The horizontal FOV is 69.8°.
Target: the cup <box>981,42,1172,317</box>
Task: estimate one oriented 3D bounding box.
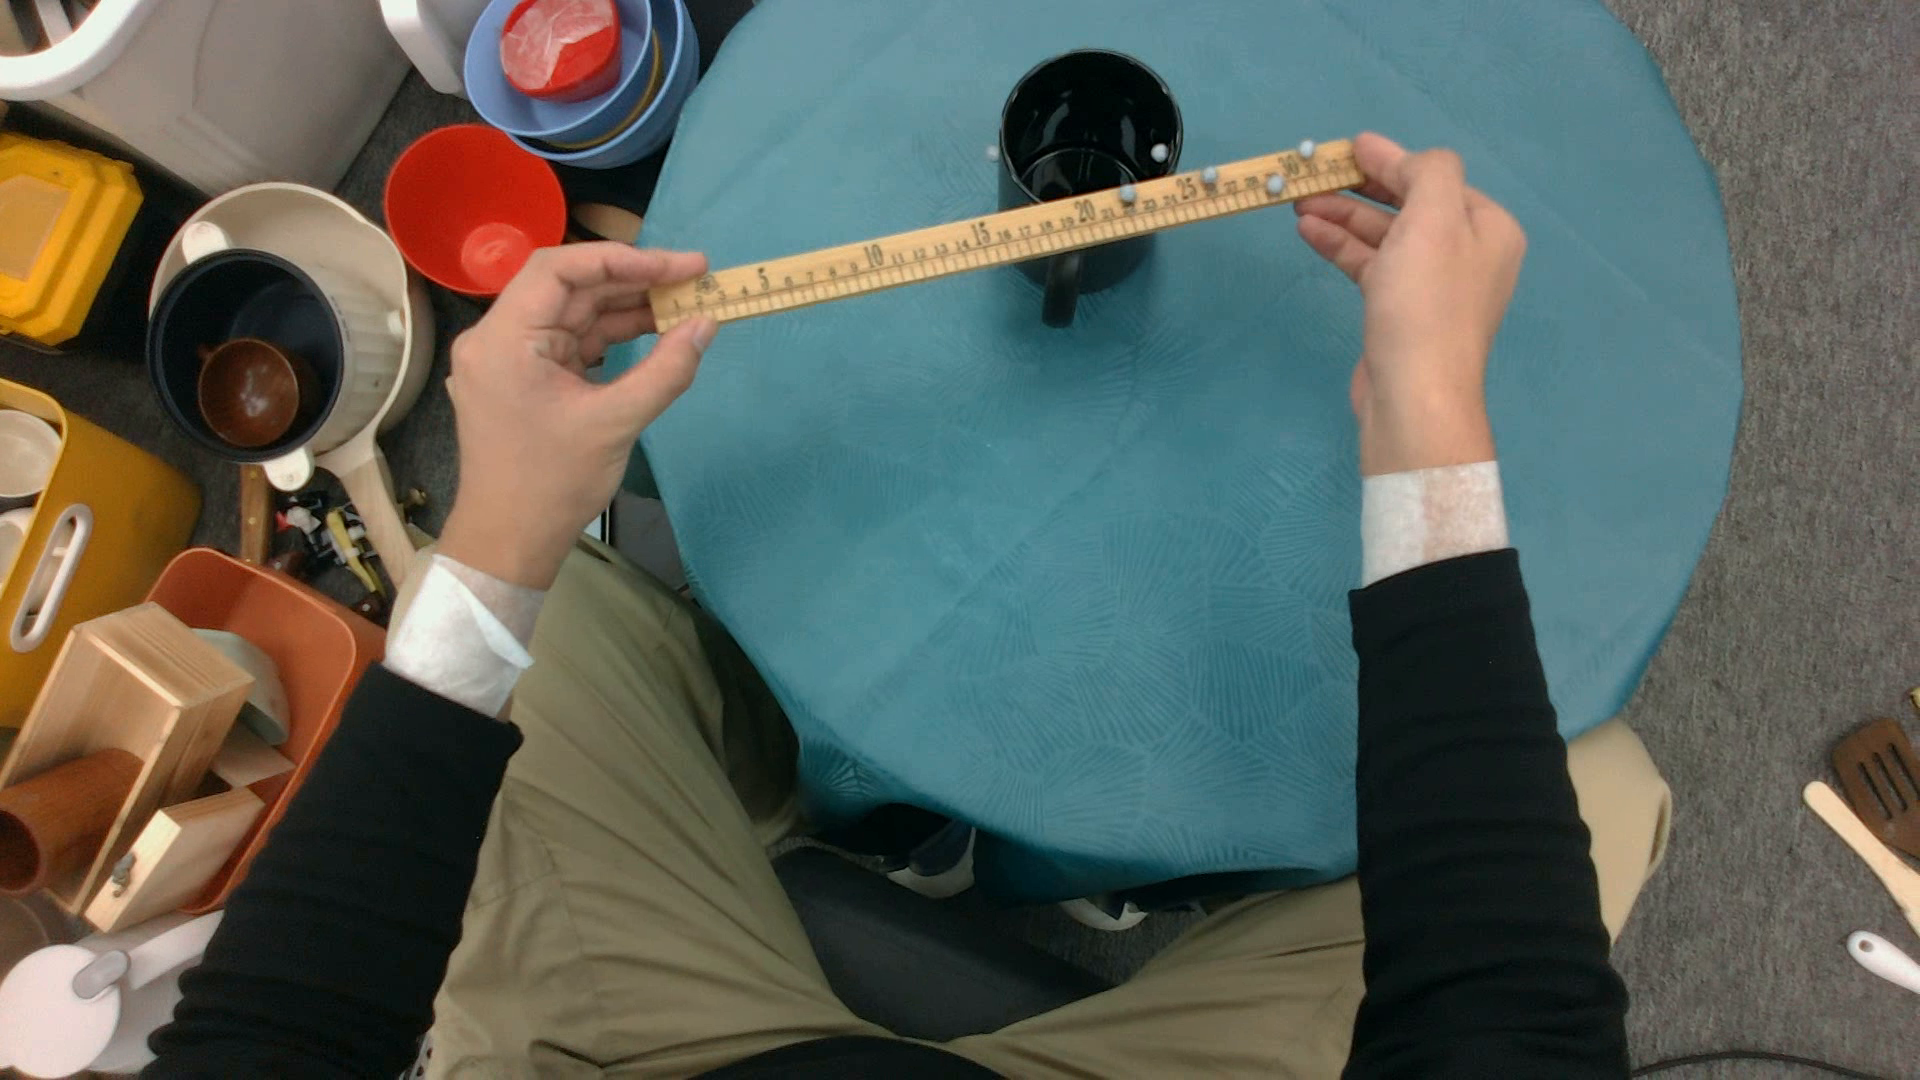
[{"bbox_3d":[0.052,-0.173,0.705,0.088,0.105,0.124,14,79,1],"label":"cup"}]

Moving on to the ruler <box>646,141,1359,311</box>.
[{"bbox_3d":[0.025,-0.146,0.624,0.332,0.022,0.027,-12,67,-9],"label":"ruler"}]
